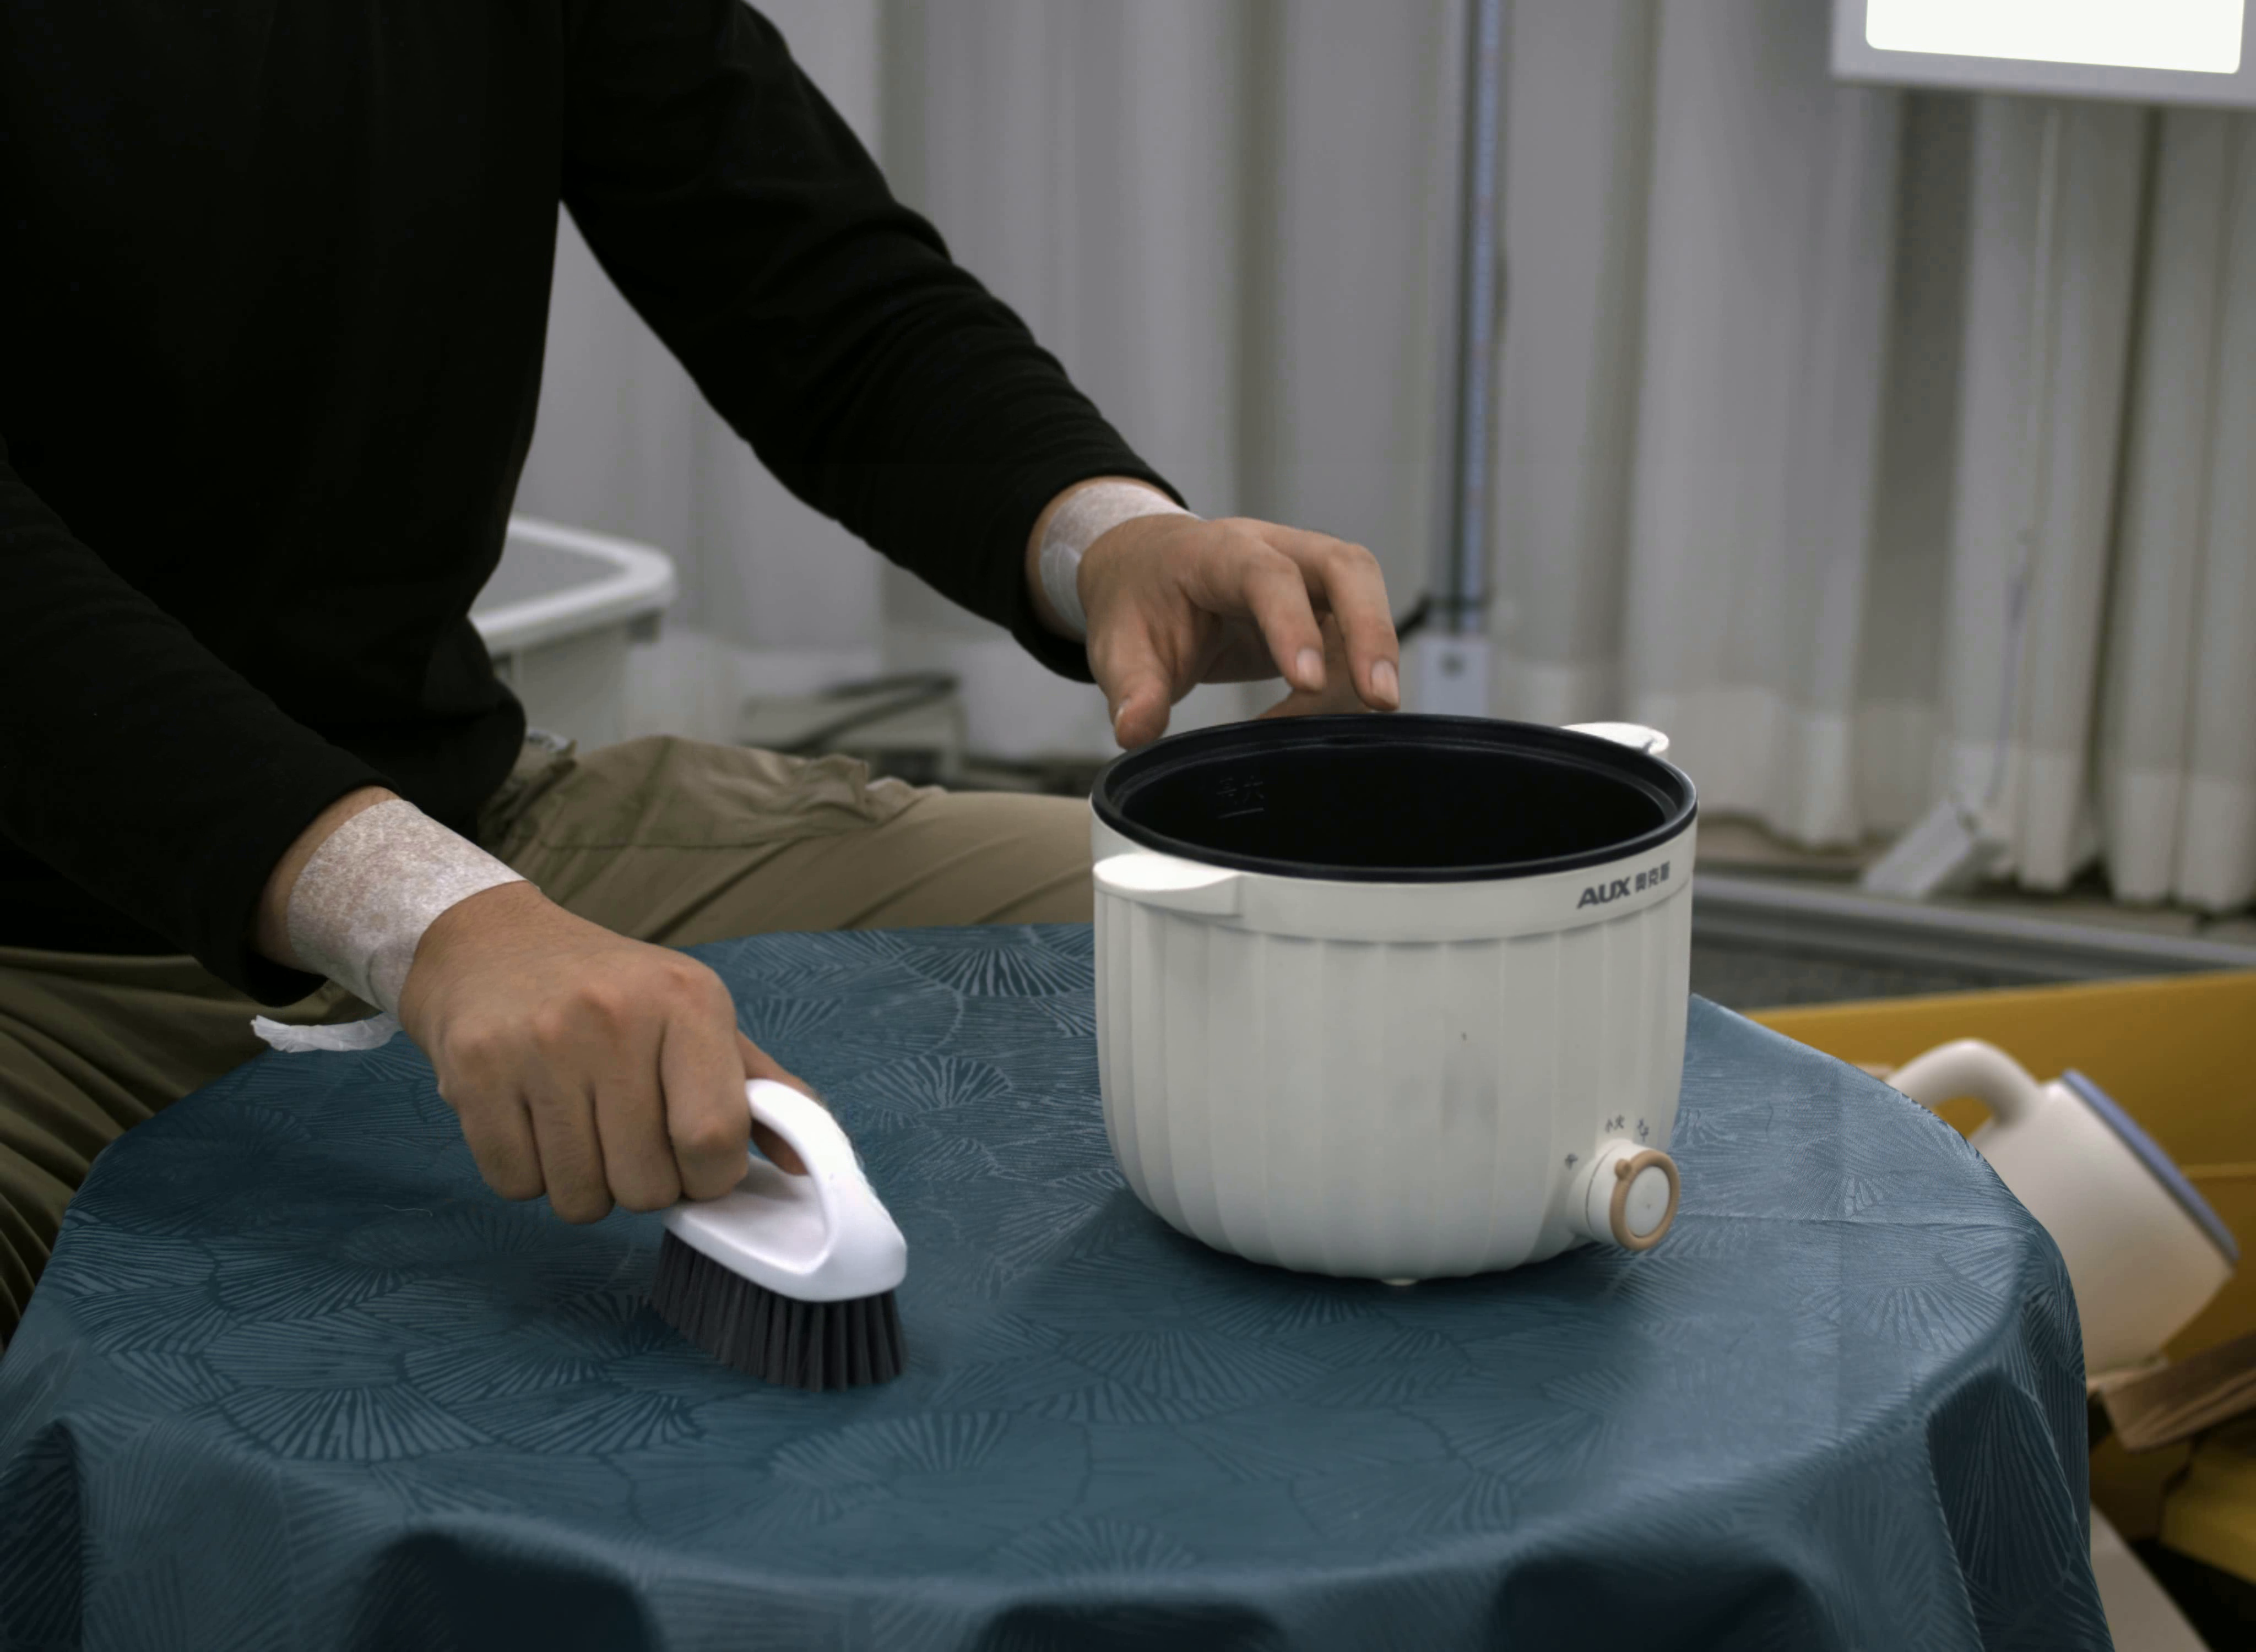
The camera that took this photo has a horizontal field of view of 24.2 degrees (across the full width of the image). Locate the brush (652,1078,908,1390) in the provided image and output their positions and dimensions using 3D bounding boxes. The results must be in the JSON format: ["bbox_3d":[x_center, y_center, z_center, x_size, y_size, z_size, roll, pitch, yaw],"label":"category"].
[{"bbox_3d":[-0.100,0.110,1.489,0.050,0.073,0.098,-10,20,-33],"label":"brush"}]

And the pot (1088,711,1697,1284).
[{"bbox_3d":[0.083,0.052,1.580,0.188,0.144,0.241,11,20,41],"label":"pot"}]
